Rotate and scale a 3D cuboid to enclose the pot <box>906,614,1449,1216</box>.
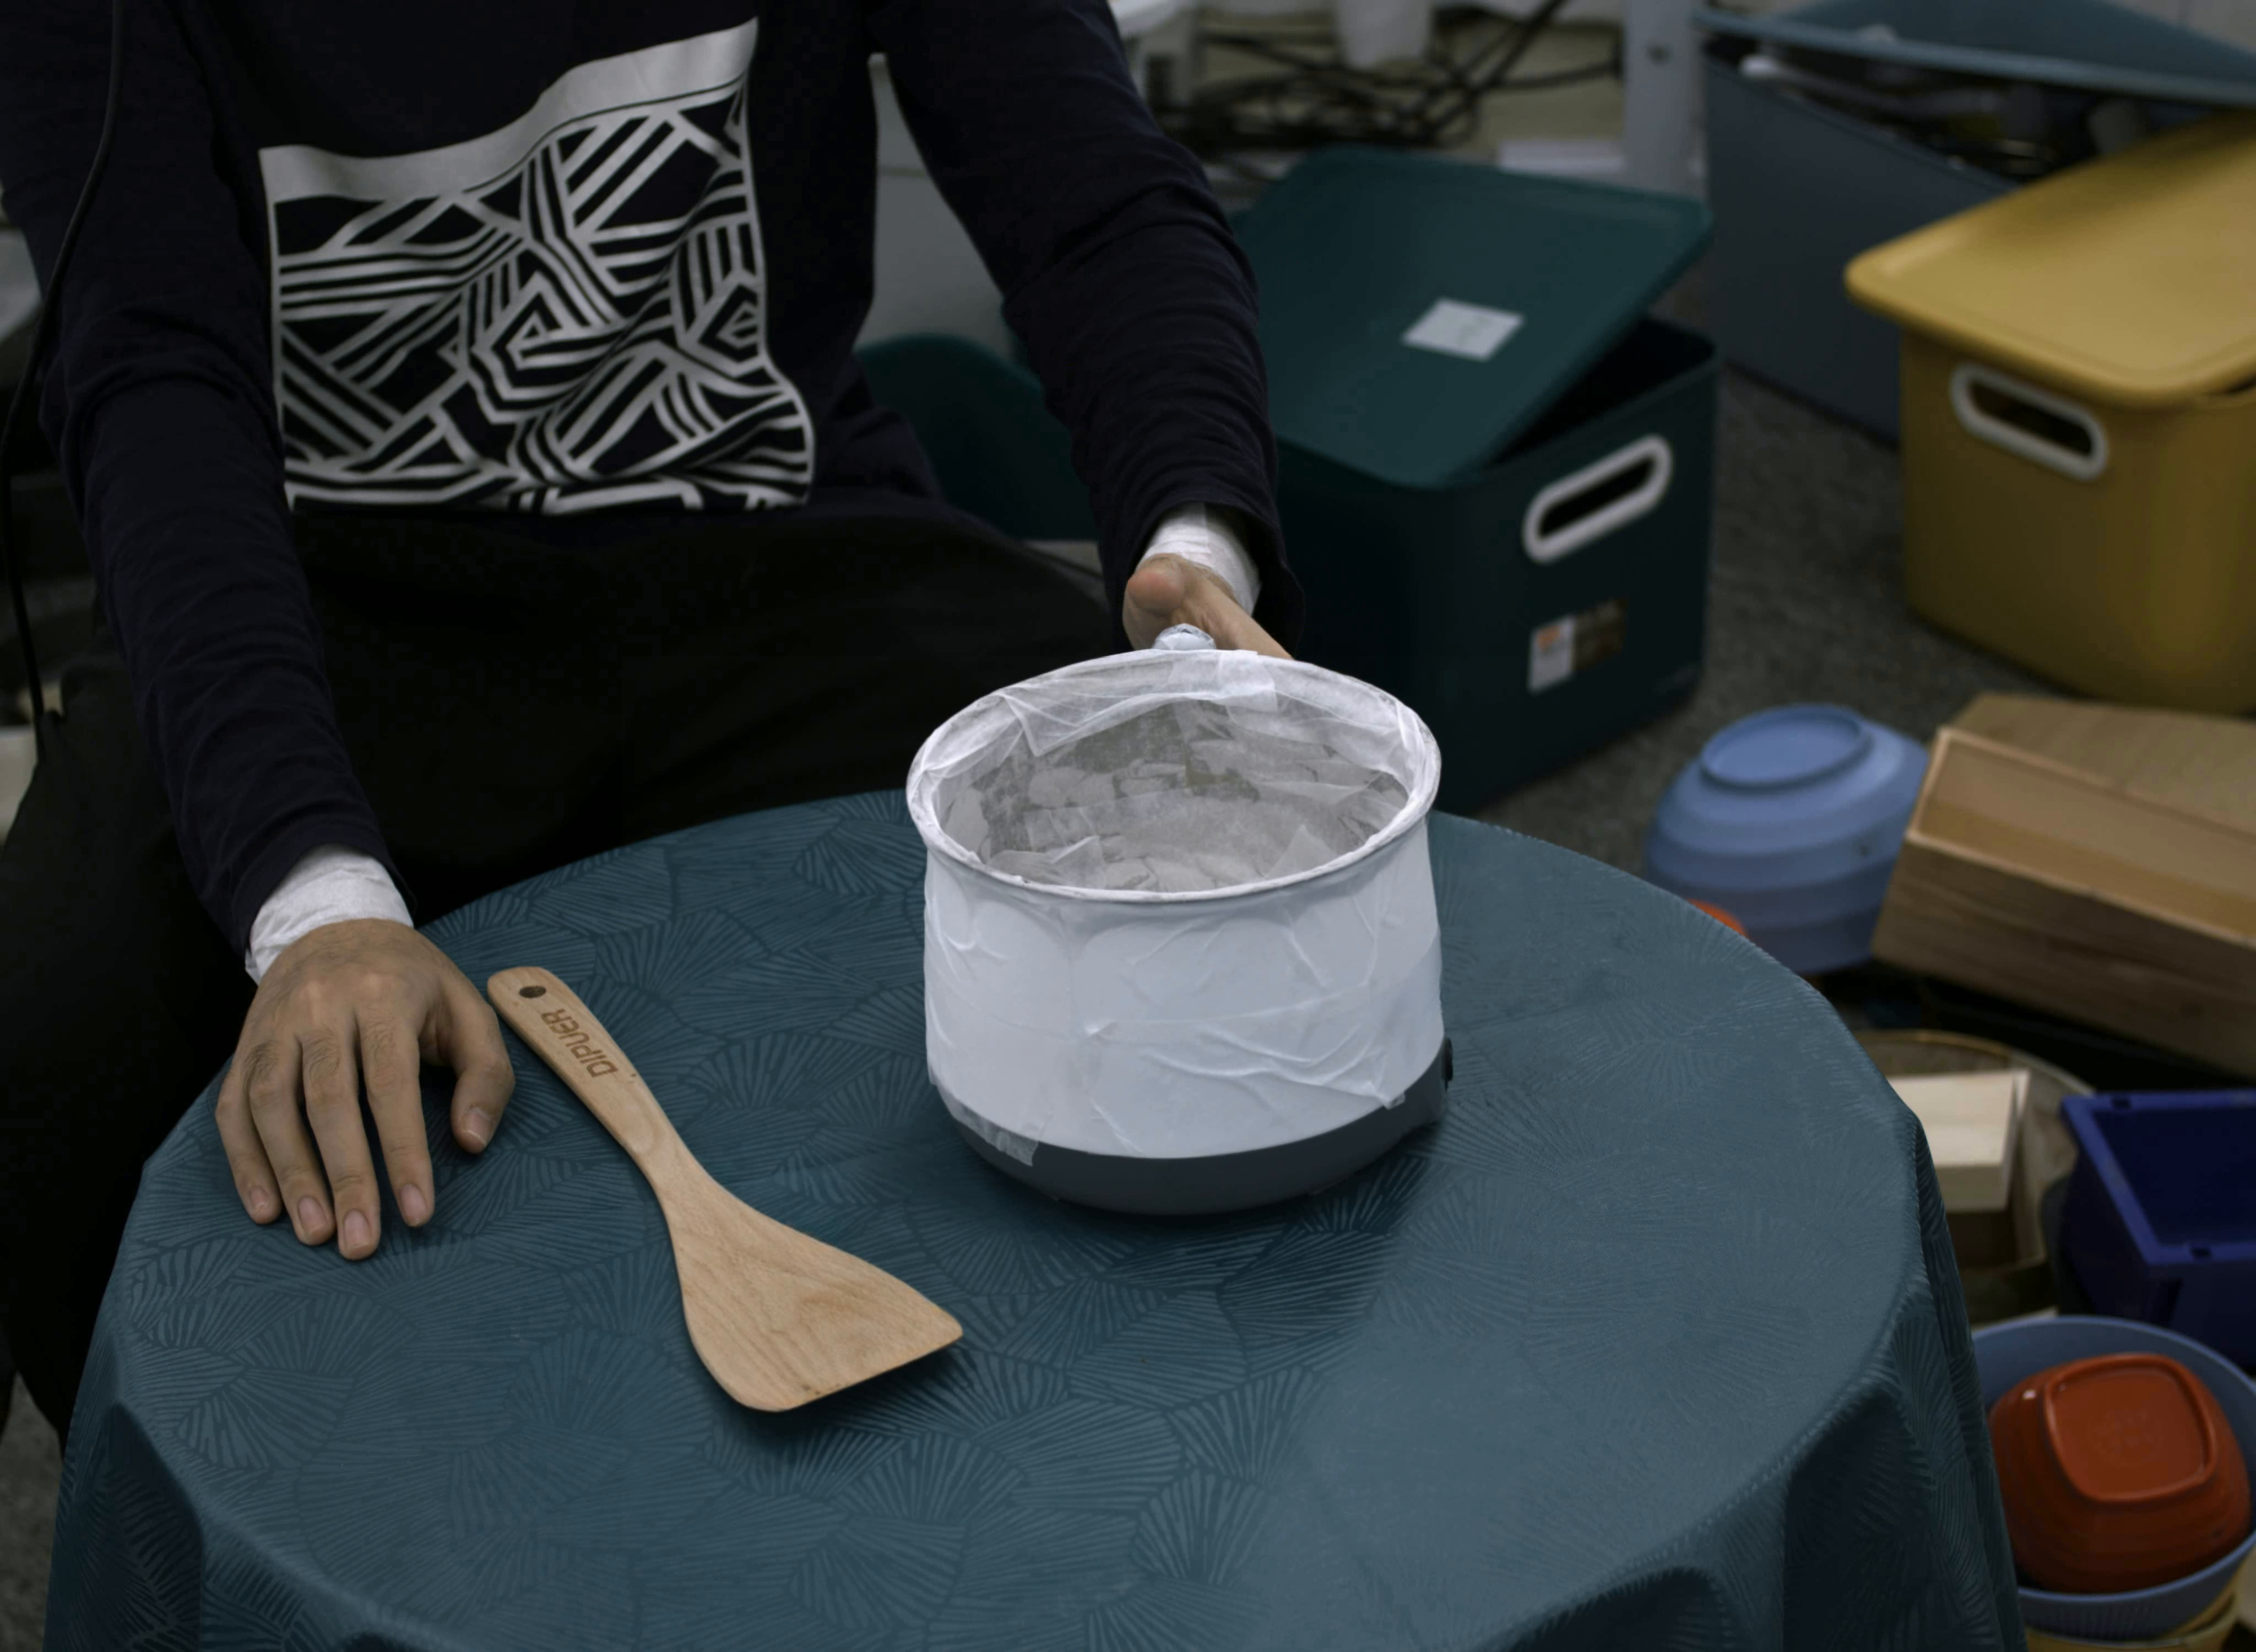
[{"bbox_3d":[0.018,0.022,1.899,0.178,0.135,0.237,-1,28,1],"label":"pot"}]

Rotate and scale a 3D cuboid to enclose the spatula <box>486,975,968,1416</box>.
[{"bbox_3d":[-0.148,0.116,1.870,0.080,0.016,0.329,-14,29,-22],"label":"spatula"}]
